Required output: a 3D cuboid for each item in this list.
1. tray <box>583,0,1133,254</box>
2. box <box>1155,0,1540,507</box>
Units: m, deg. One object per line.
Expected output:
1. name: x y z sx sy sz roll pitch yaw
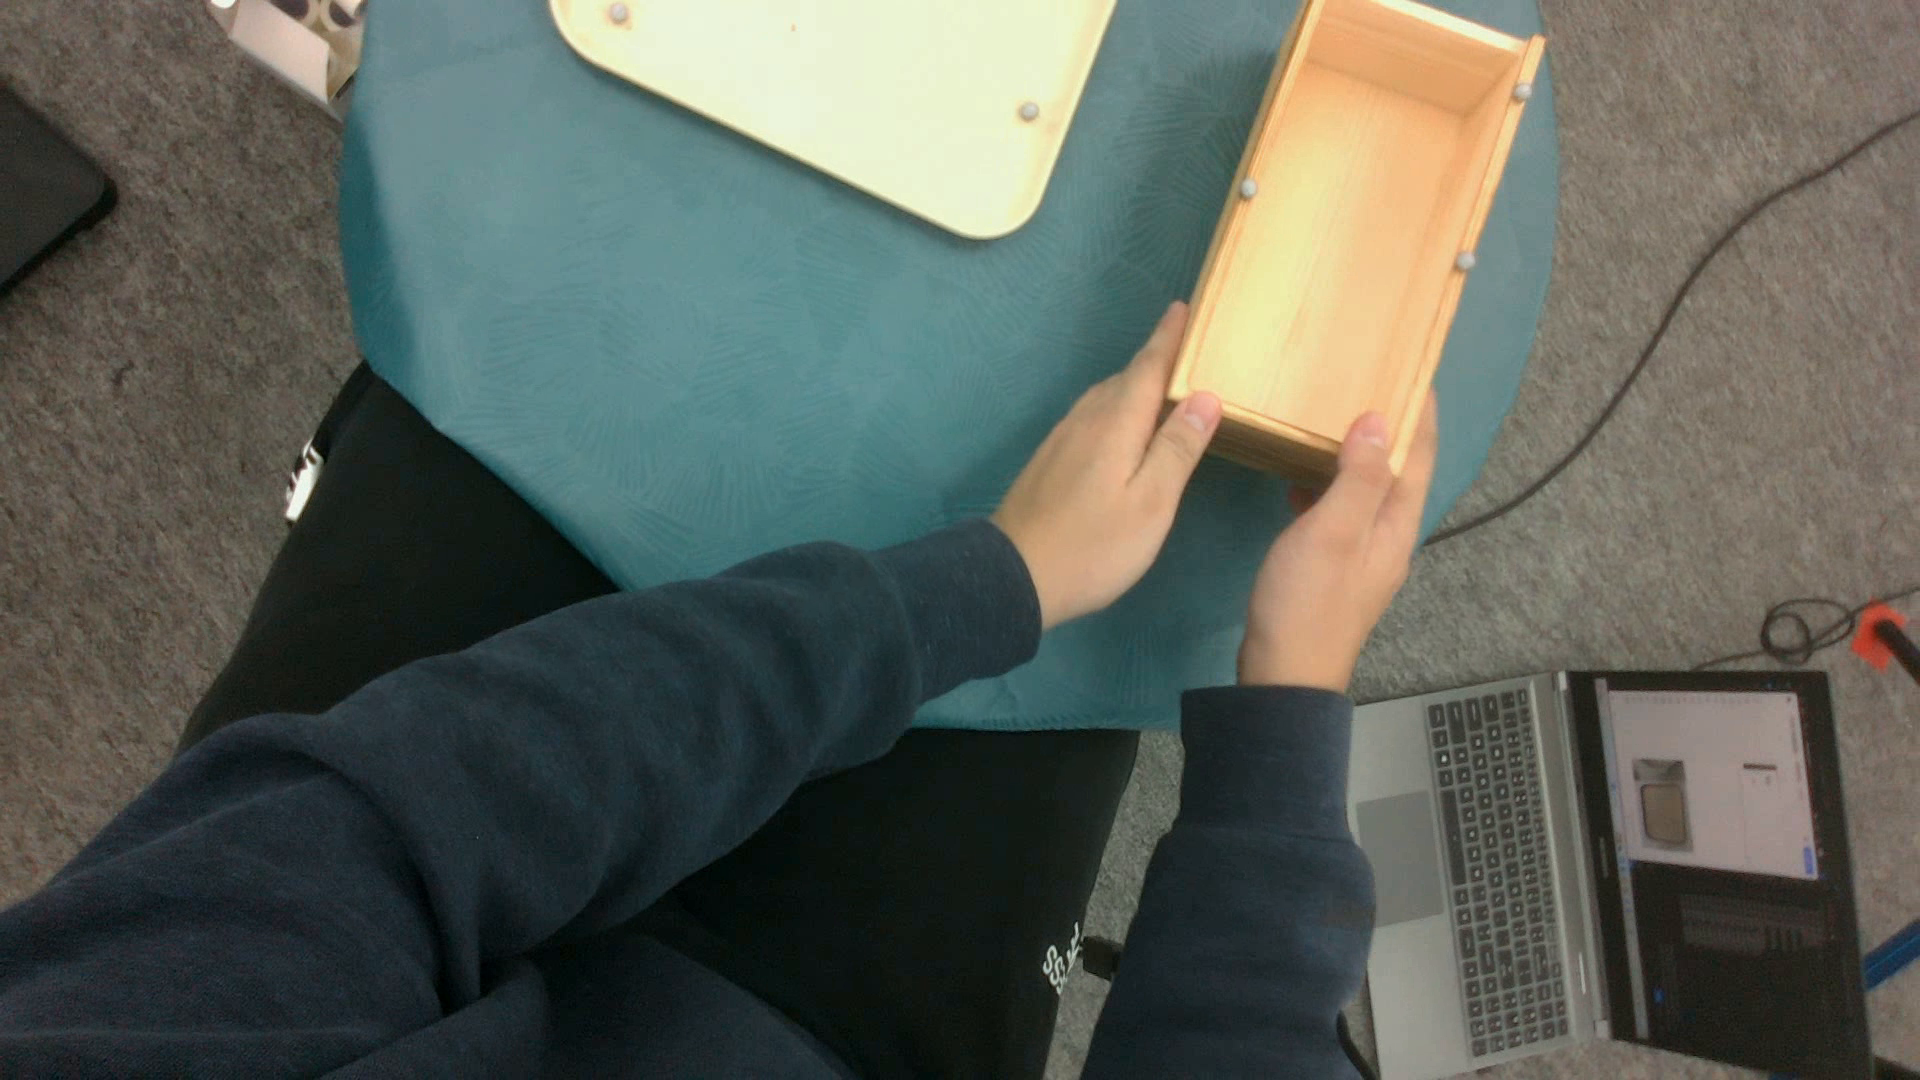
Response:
1. tray: -0.044 -0.253 0.663 0.240 0.017 0.171 23 85 -12
2. box: 0.179 -0.135 0.654 0.107 0.080 0.211 19 85 4
